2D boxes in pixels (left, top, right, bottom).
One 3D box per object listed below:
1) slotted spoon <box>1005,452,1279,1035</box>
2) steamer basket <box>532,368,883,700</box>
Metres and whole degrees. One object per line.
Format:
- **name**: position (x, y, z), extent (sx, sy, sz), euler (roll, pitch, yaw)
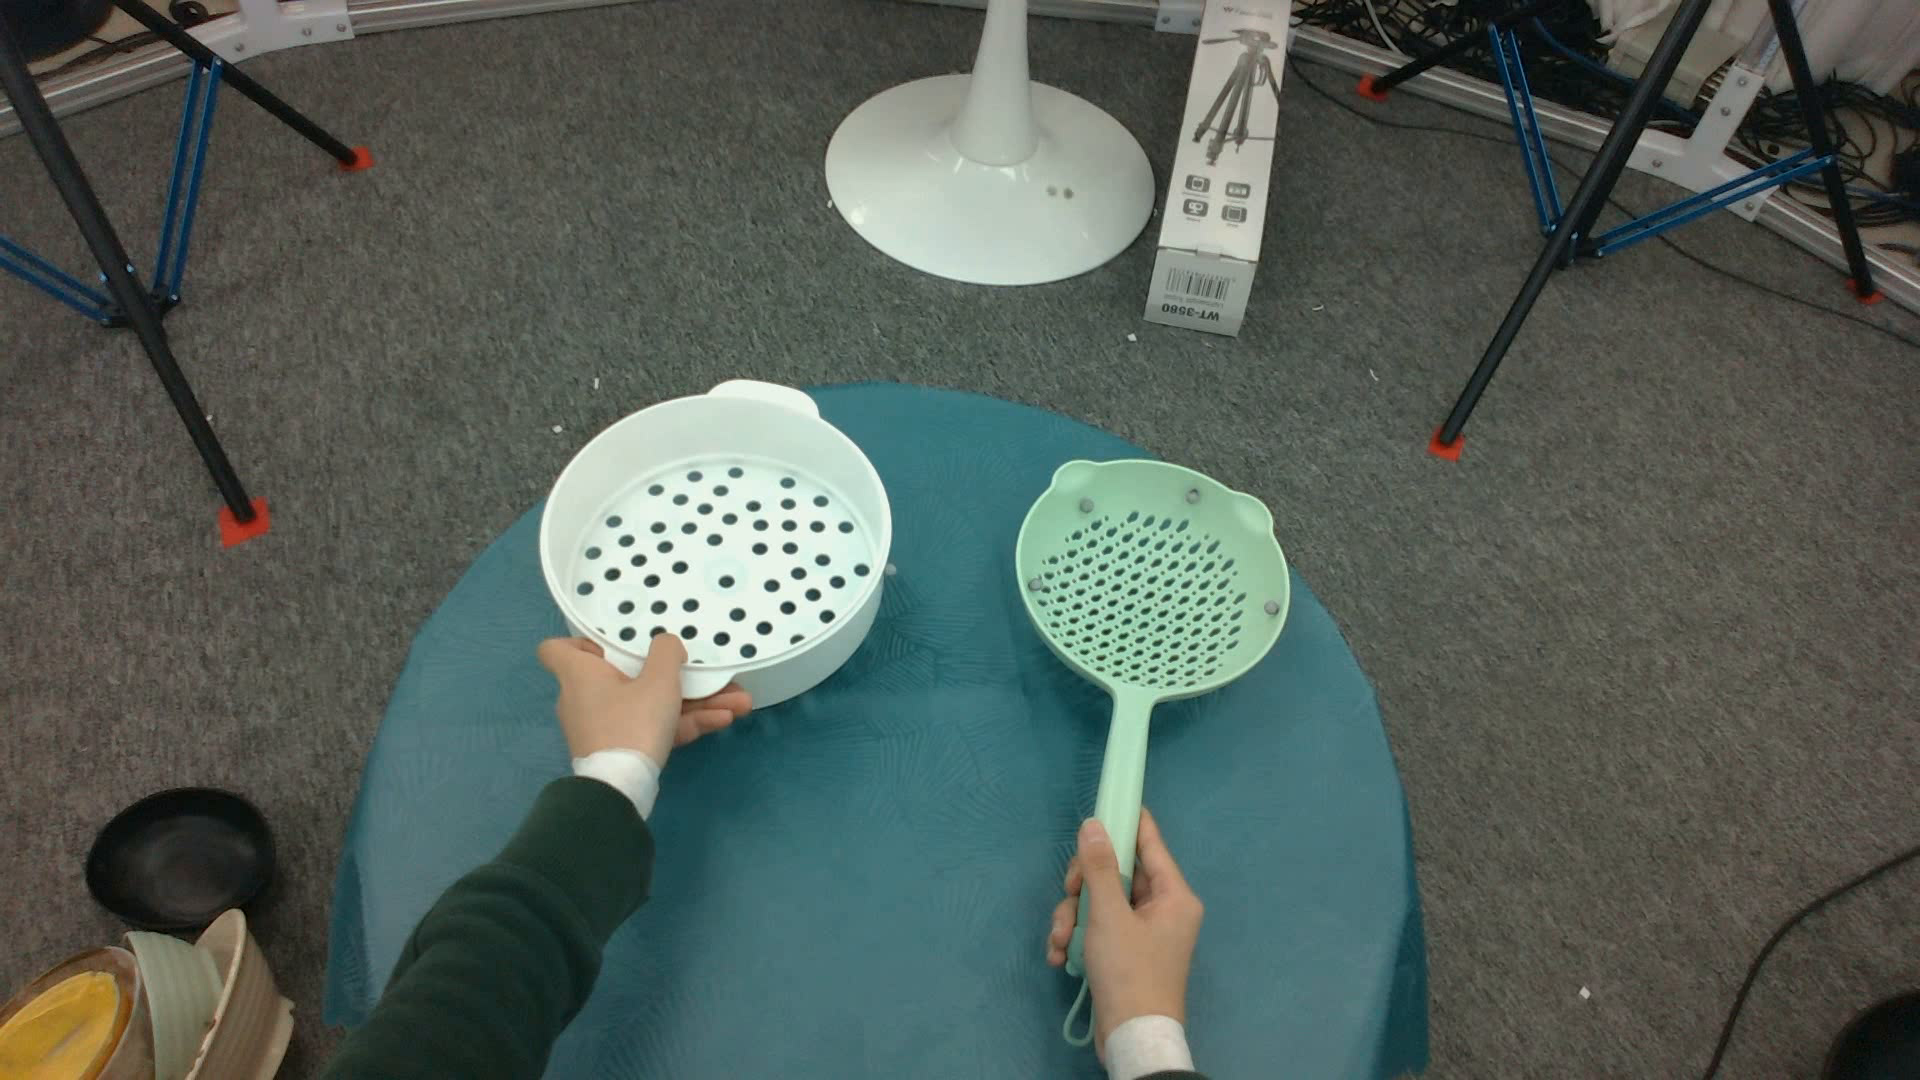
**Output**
- **slotted spoon**: position (0.091, 0.098, 0.789), extent (0.169, 0.075, 0.360), euler (12, 47, 3)
- **steamer basket**: position (-0.148, 0.000, 0.827), extent (0.202, 0.069, 0.231), euler (10, 54, 2)
